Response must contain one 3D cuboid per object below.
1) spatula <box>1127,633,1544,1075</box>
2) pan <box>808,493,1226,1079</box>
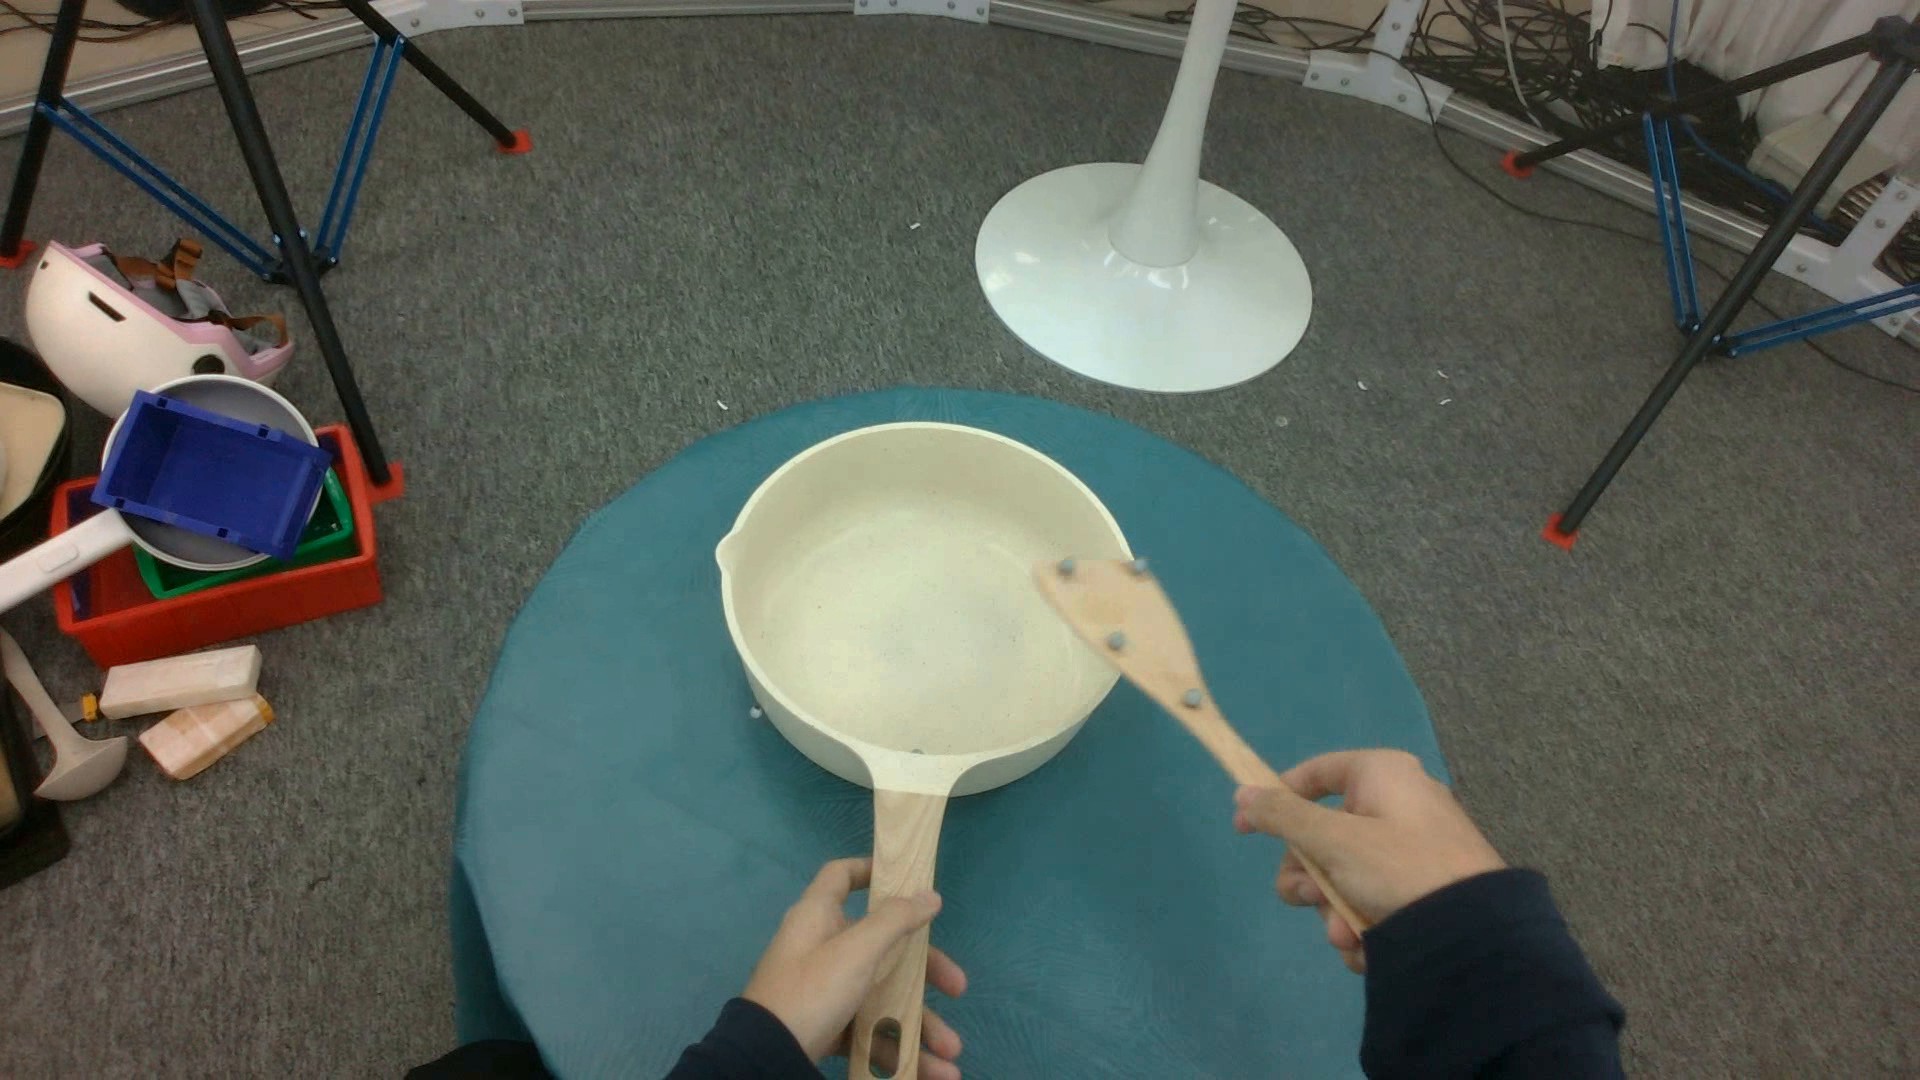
[{"bbox_3d":[0.162,0.121,0.634,0.080,0.016,0.328,9,21,-19],"label":"spatula"},{"bbox_3d":[0.025,0.156,0.797,0.263,0.101,0.437,8,50,1],"label":"pan"}]
